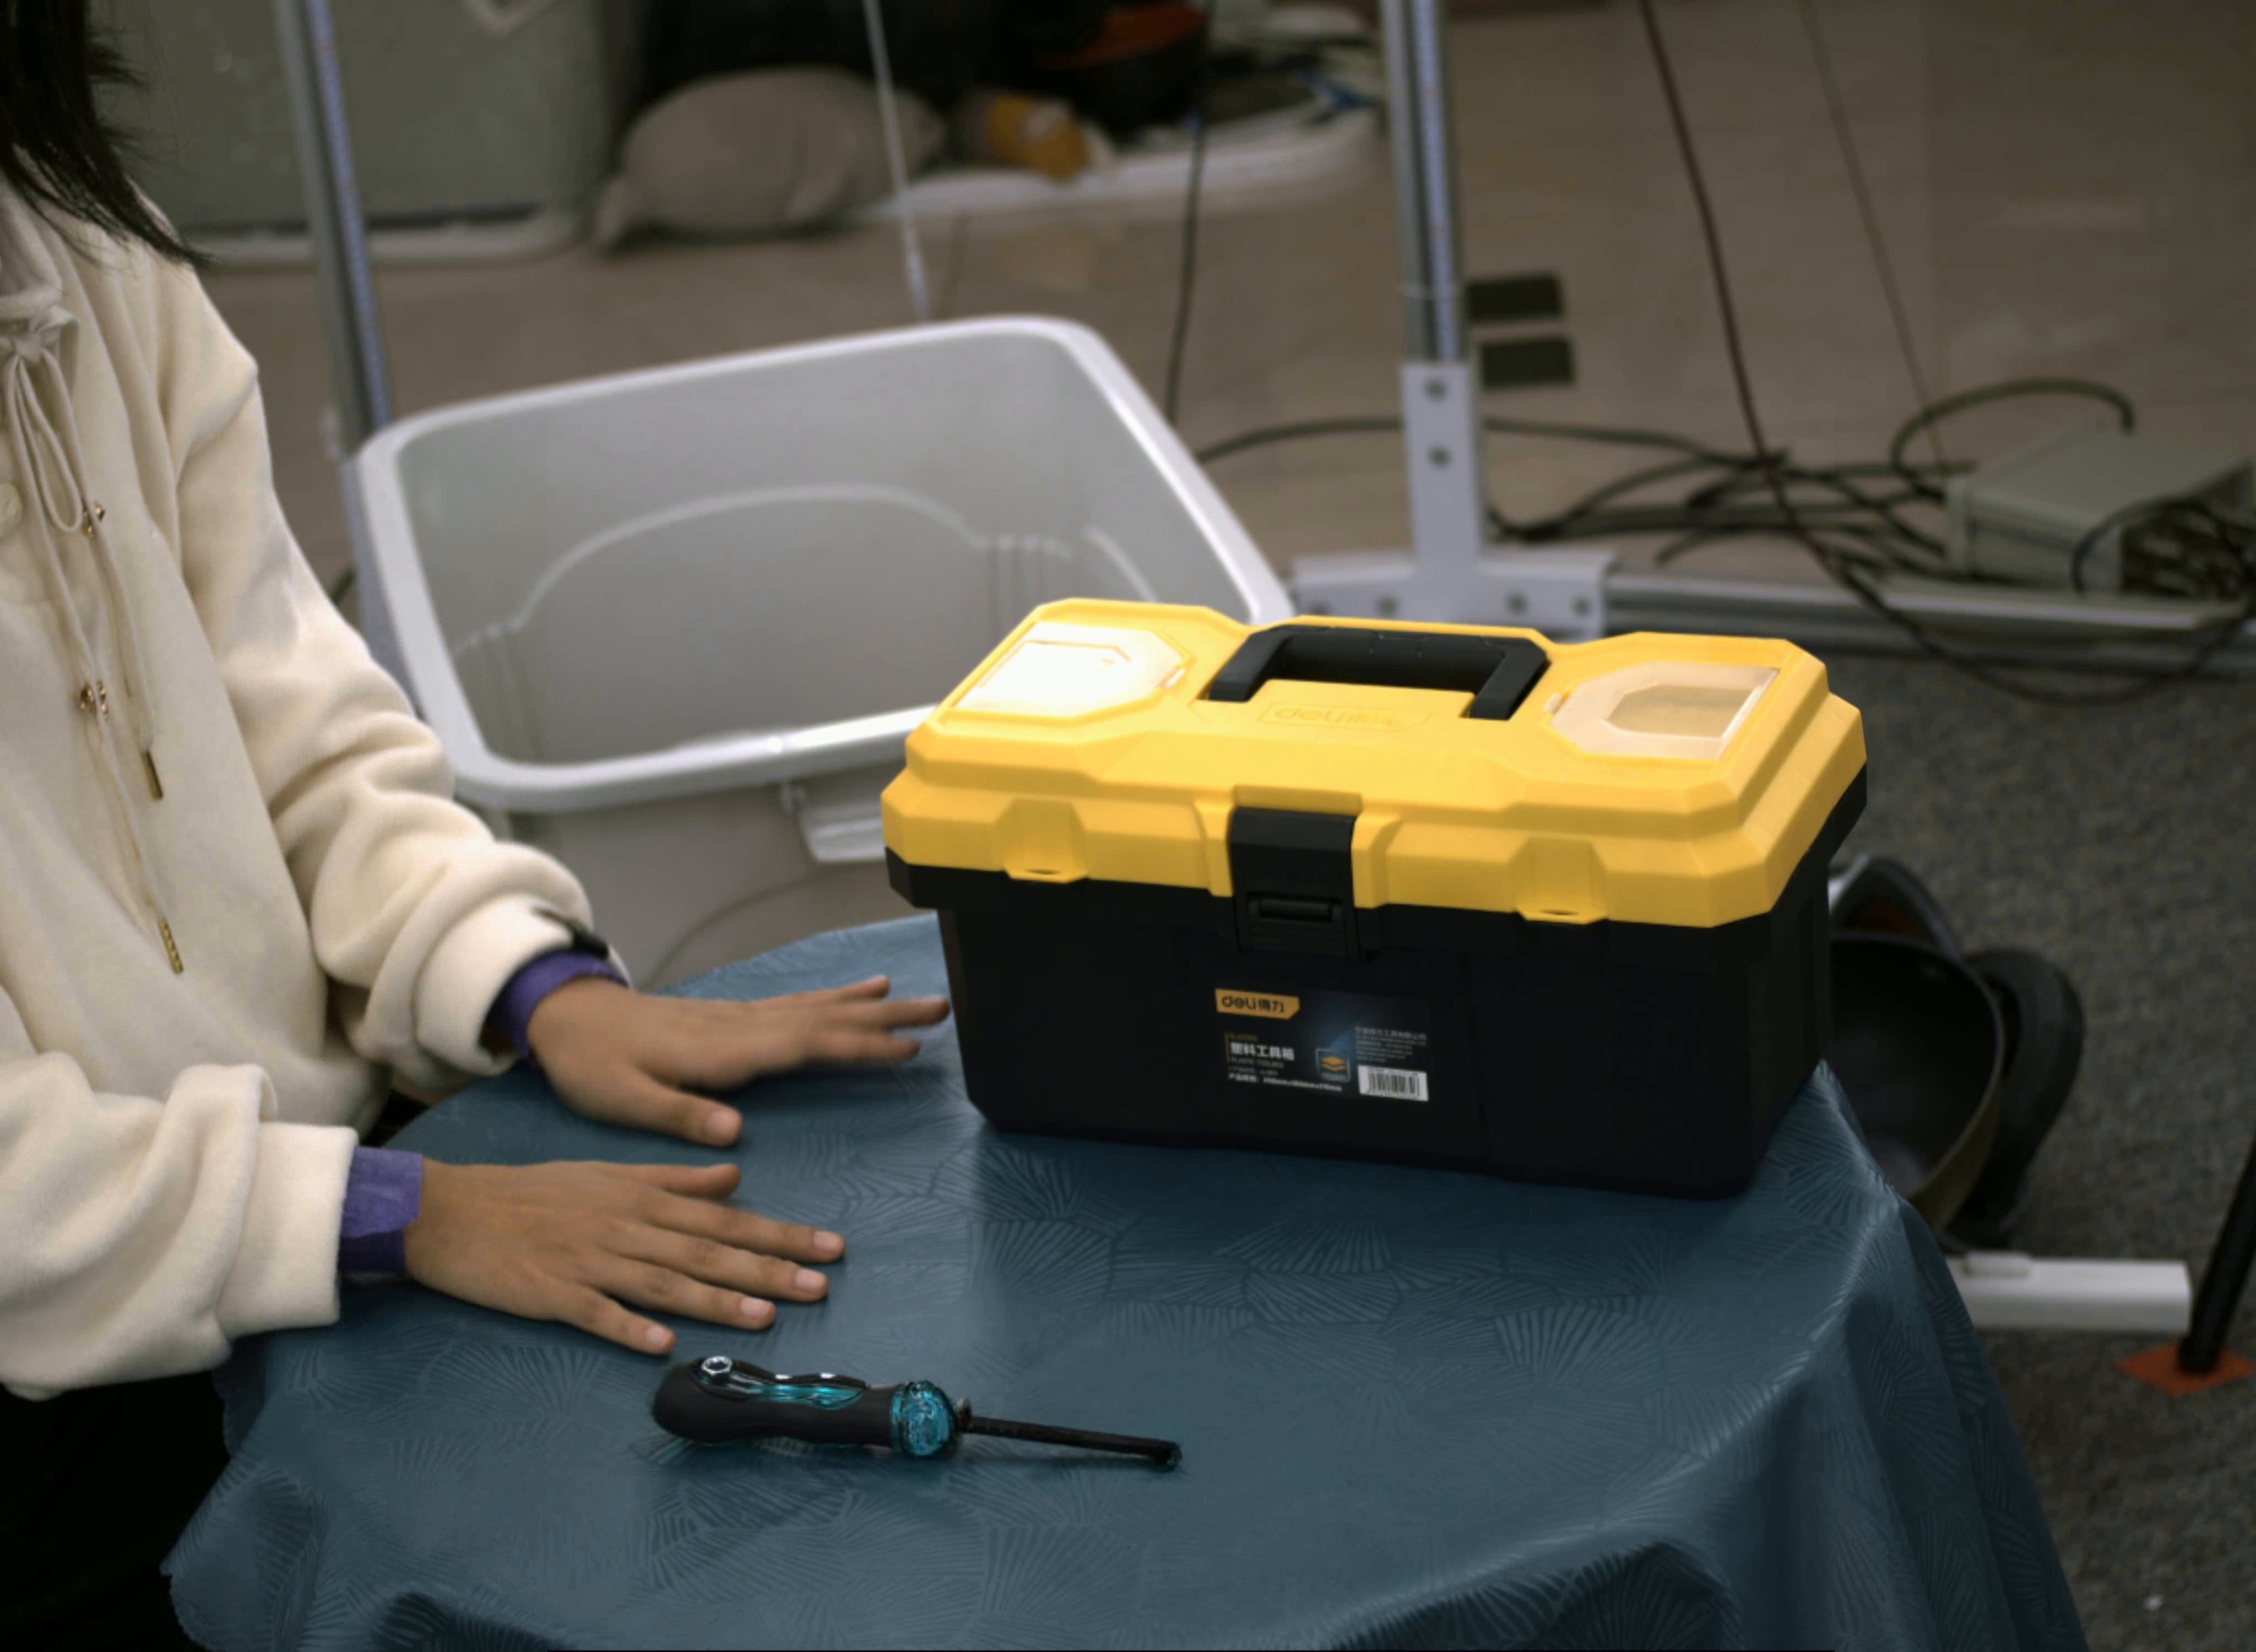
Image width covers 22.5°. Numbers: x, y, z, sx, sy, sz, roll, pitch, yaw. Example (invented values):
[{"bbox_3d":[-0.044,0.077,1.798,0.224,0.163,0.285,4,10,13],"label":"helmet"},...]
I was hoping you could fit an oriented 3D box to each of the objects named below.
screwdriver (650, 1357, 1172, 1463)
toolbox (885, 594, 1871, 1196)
[{"bbox_3d":[-0.076,0.210,1.990,0.189,0.034,0.033,5,27,14],"label":"screwdriver"},{"bbox_3d":[0.096,0.025,2.160,0.350,0.175,0.179,5,28,23],"label":"toolbox"}]
